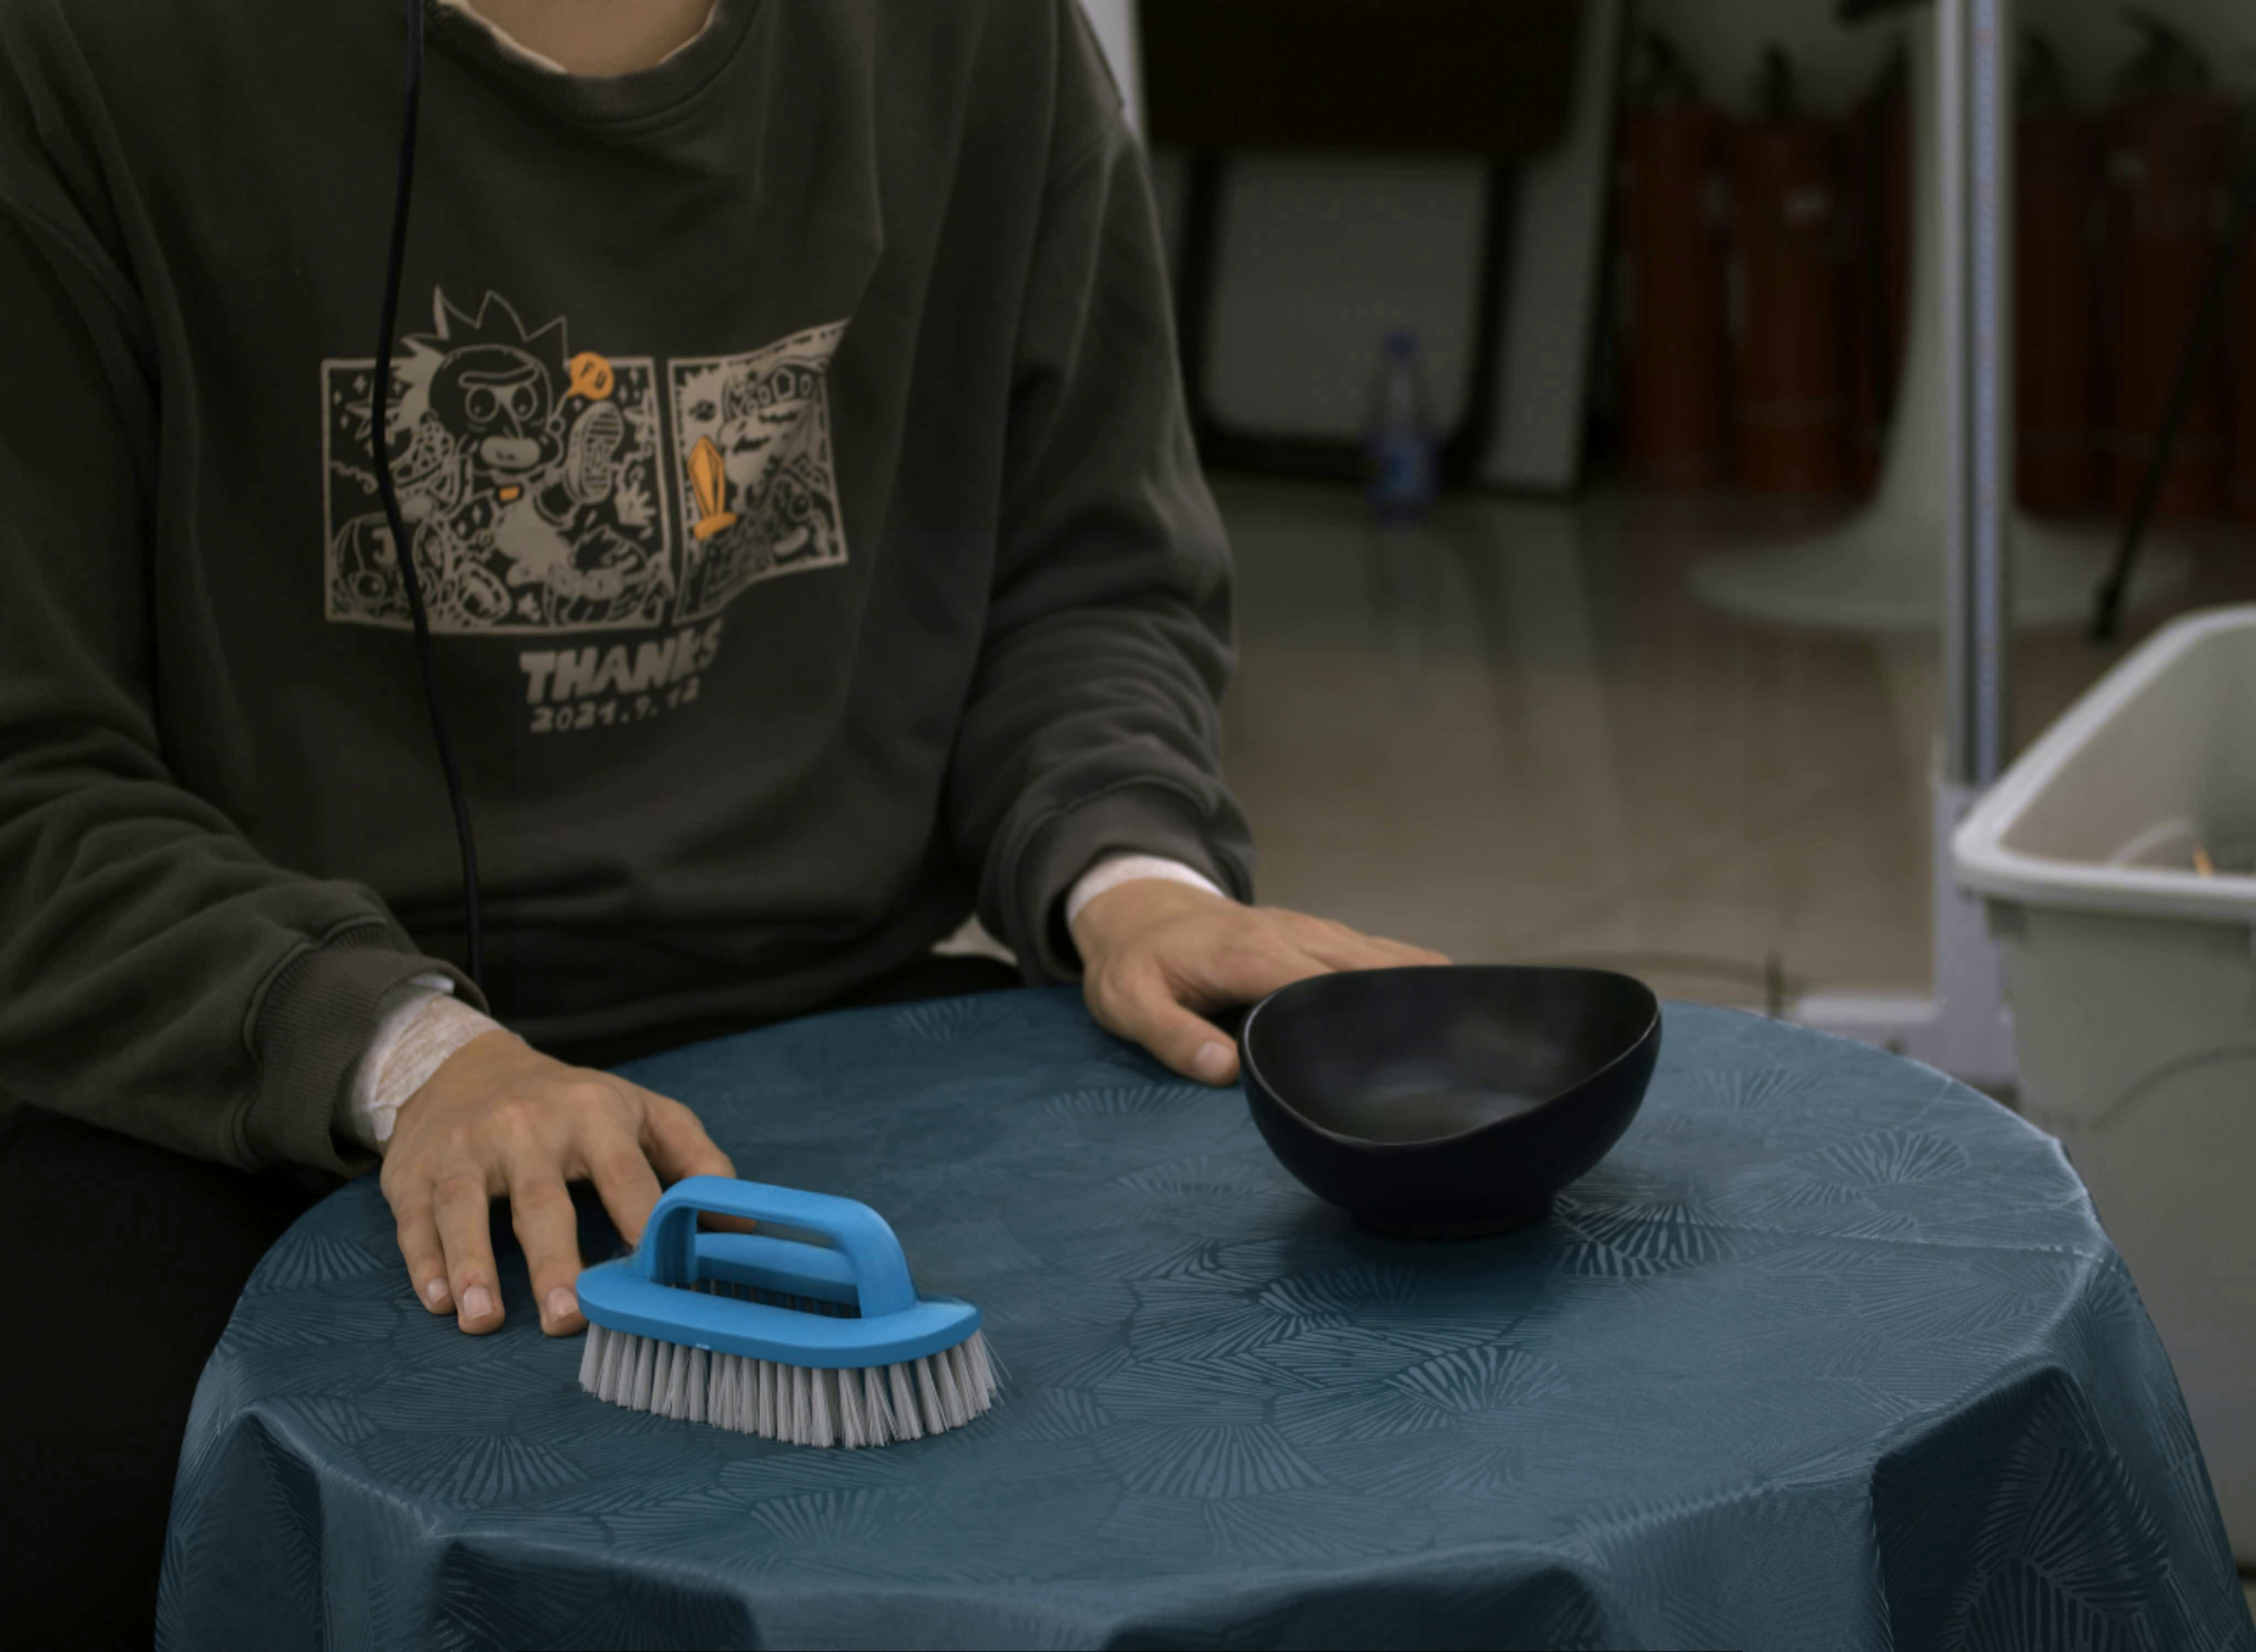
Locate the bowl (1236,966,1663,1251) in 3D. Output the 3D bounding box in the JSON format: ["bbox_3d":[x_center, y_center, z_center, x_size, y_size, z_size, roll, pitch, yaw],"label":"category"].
[{"bbox_3d":[0.104,0.094,1.725,0.137,0.067,0.169,-1,15,15],"label":"bowl"}]

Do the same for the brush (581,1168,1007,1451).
[{"bbox_3d":[-0.104,0.136,1.605,0.143,0.064,0.083,5,21,39],"label":"brush"}]
